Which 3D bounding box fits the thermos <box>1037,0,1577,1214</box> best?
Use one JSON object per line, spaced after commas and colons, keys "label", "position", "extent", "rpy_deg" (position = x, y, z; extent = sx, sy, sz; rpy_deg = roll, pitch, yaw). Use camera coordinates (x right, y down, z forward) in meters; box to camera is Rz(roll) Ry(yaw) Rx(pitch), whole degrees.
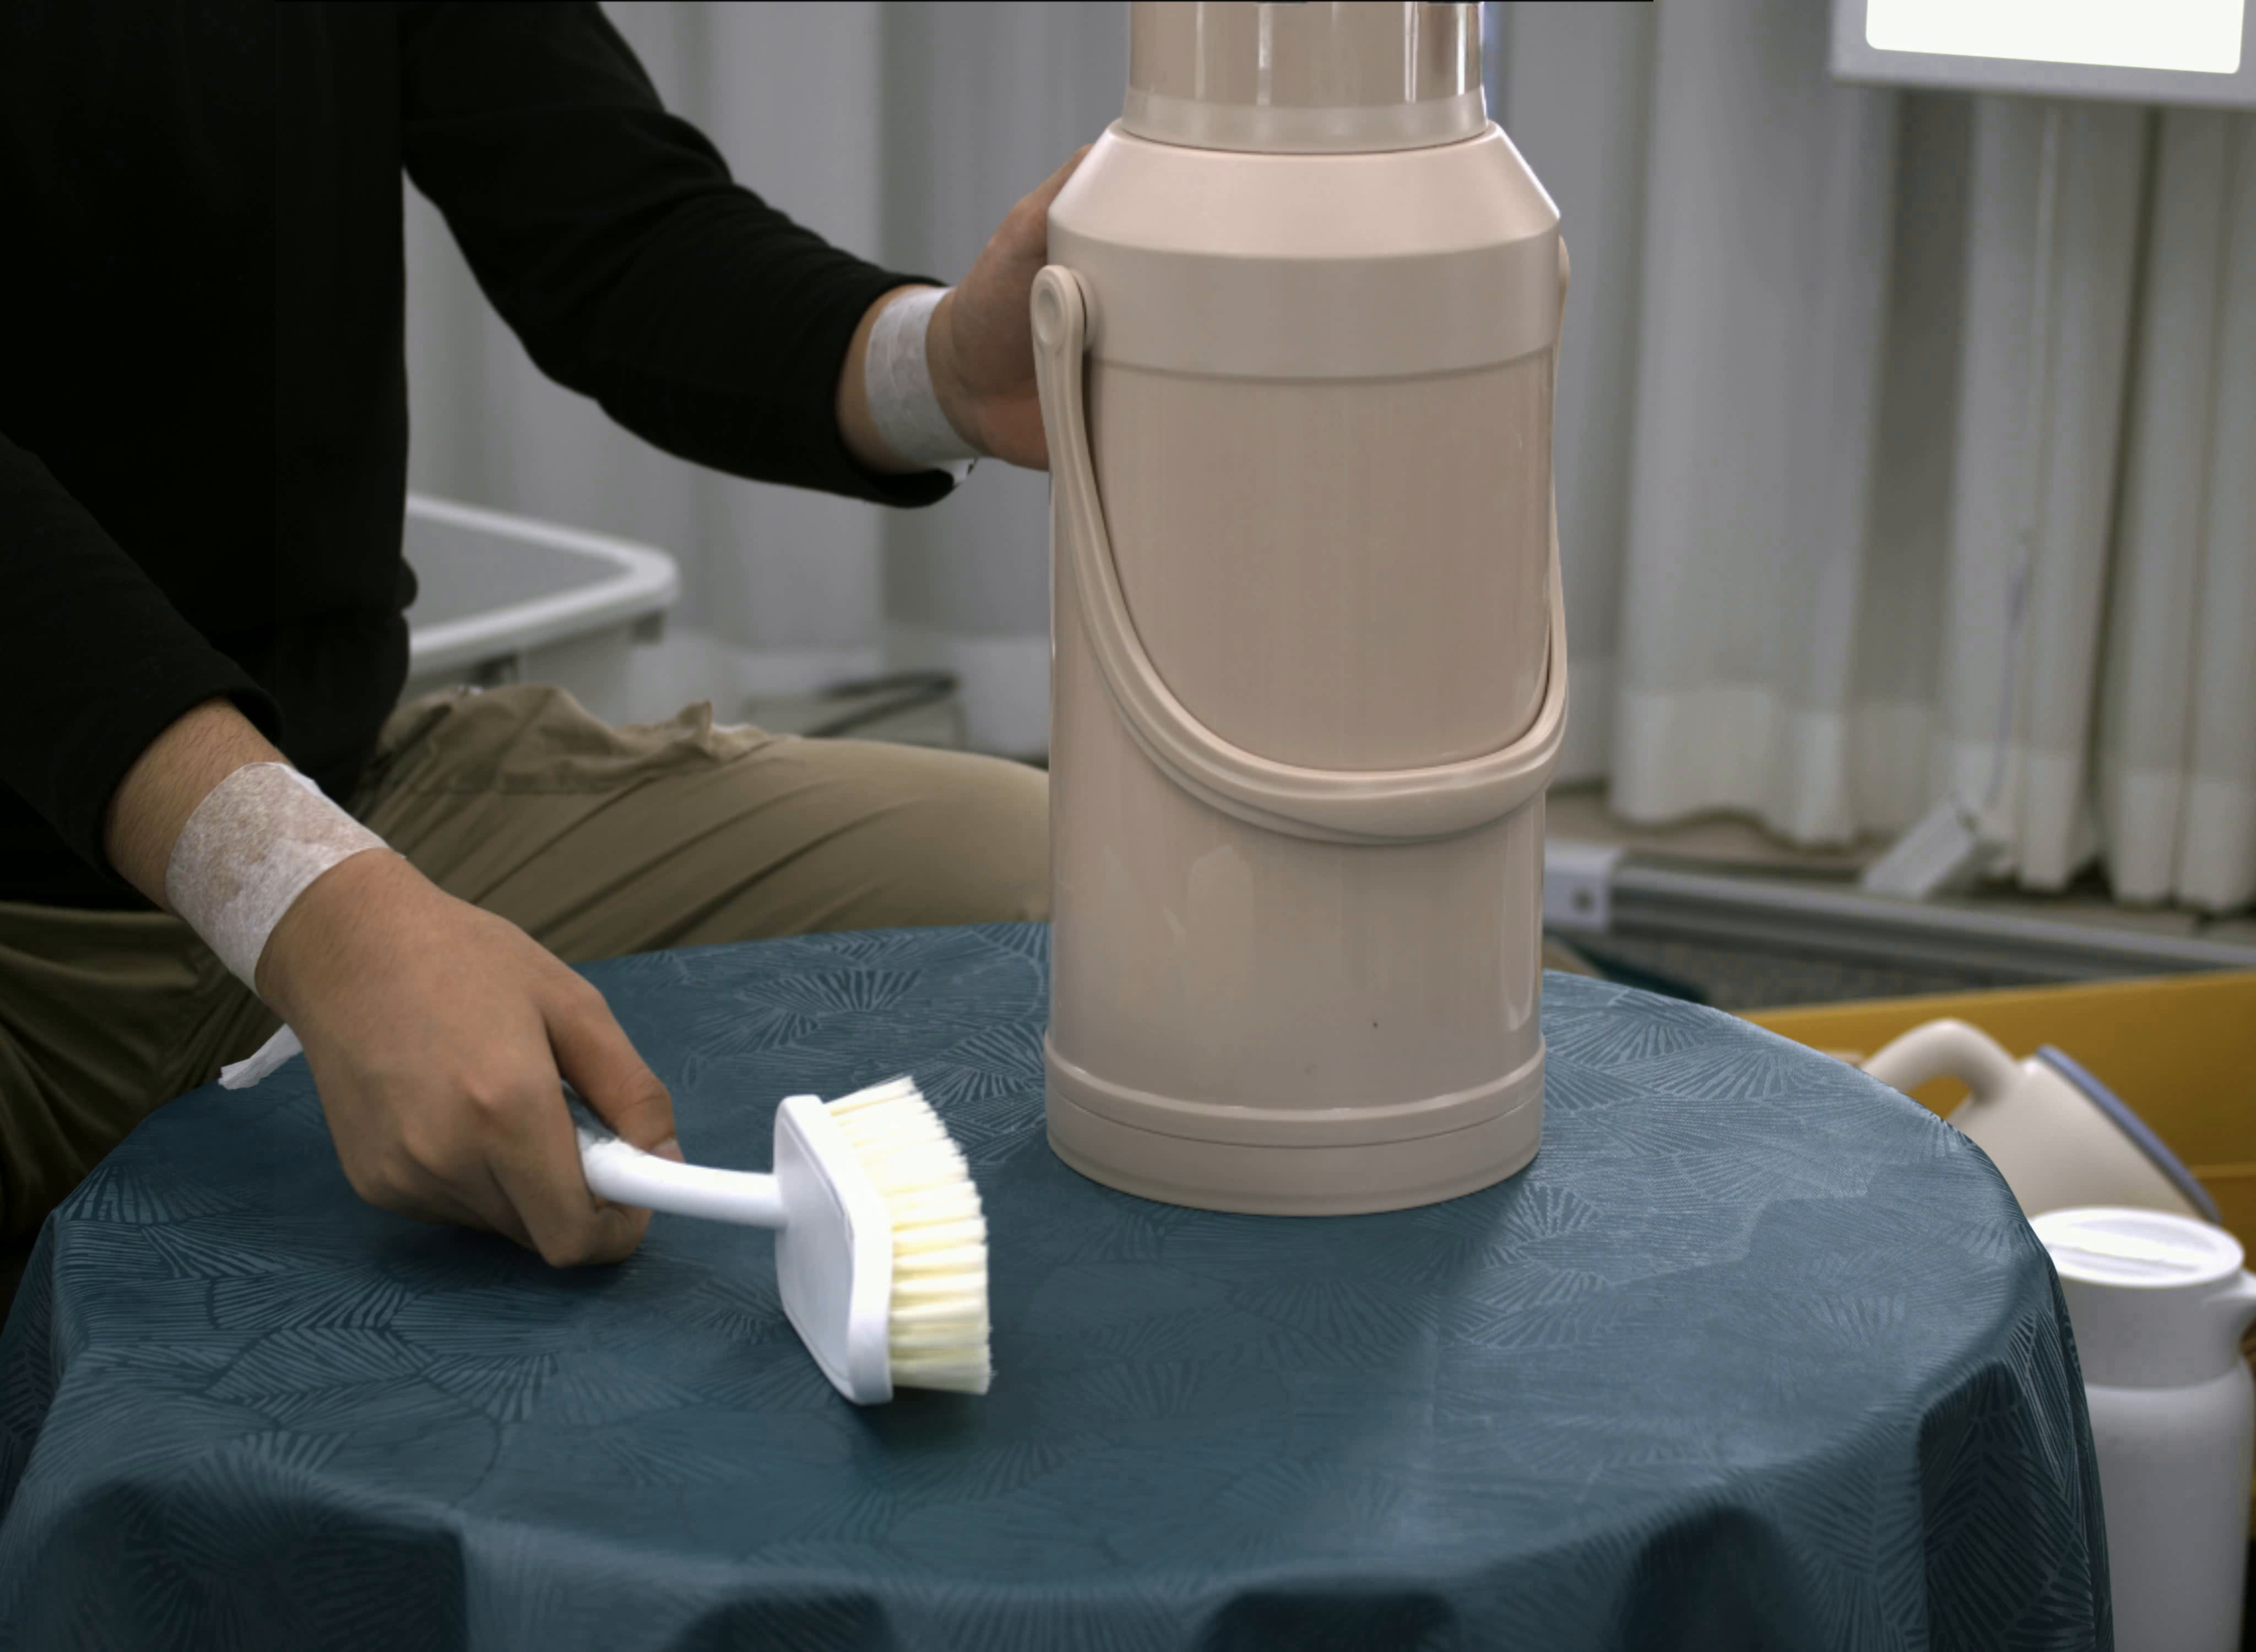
{"label": "thermos", "position": [0.050, -0.097, 1.632], "extent": [0.176, 0.410, 0.204], "rpy_deg": [-10, 19, -27]}

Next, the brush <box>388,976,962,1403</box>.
{"label": "brush", "position": [-0.118, 0.091, 1.546], "extent": [0.085, 0.083, 0.321], "rpy_deg": [37, -4, -33]}
